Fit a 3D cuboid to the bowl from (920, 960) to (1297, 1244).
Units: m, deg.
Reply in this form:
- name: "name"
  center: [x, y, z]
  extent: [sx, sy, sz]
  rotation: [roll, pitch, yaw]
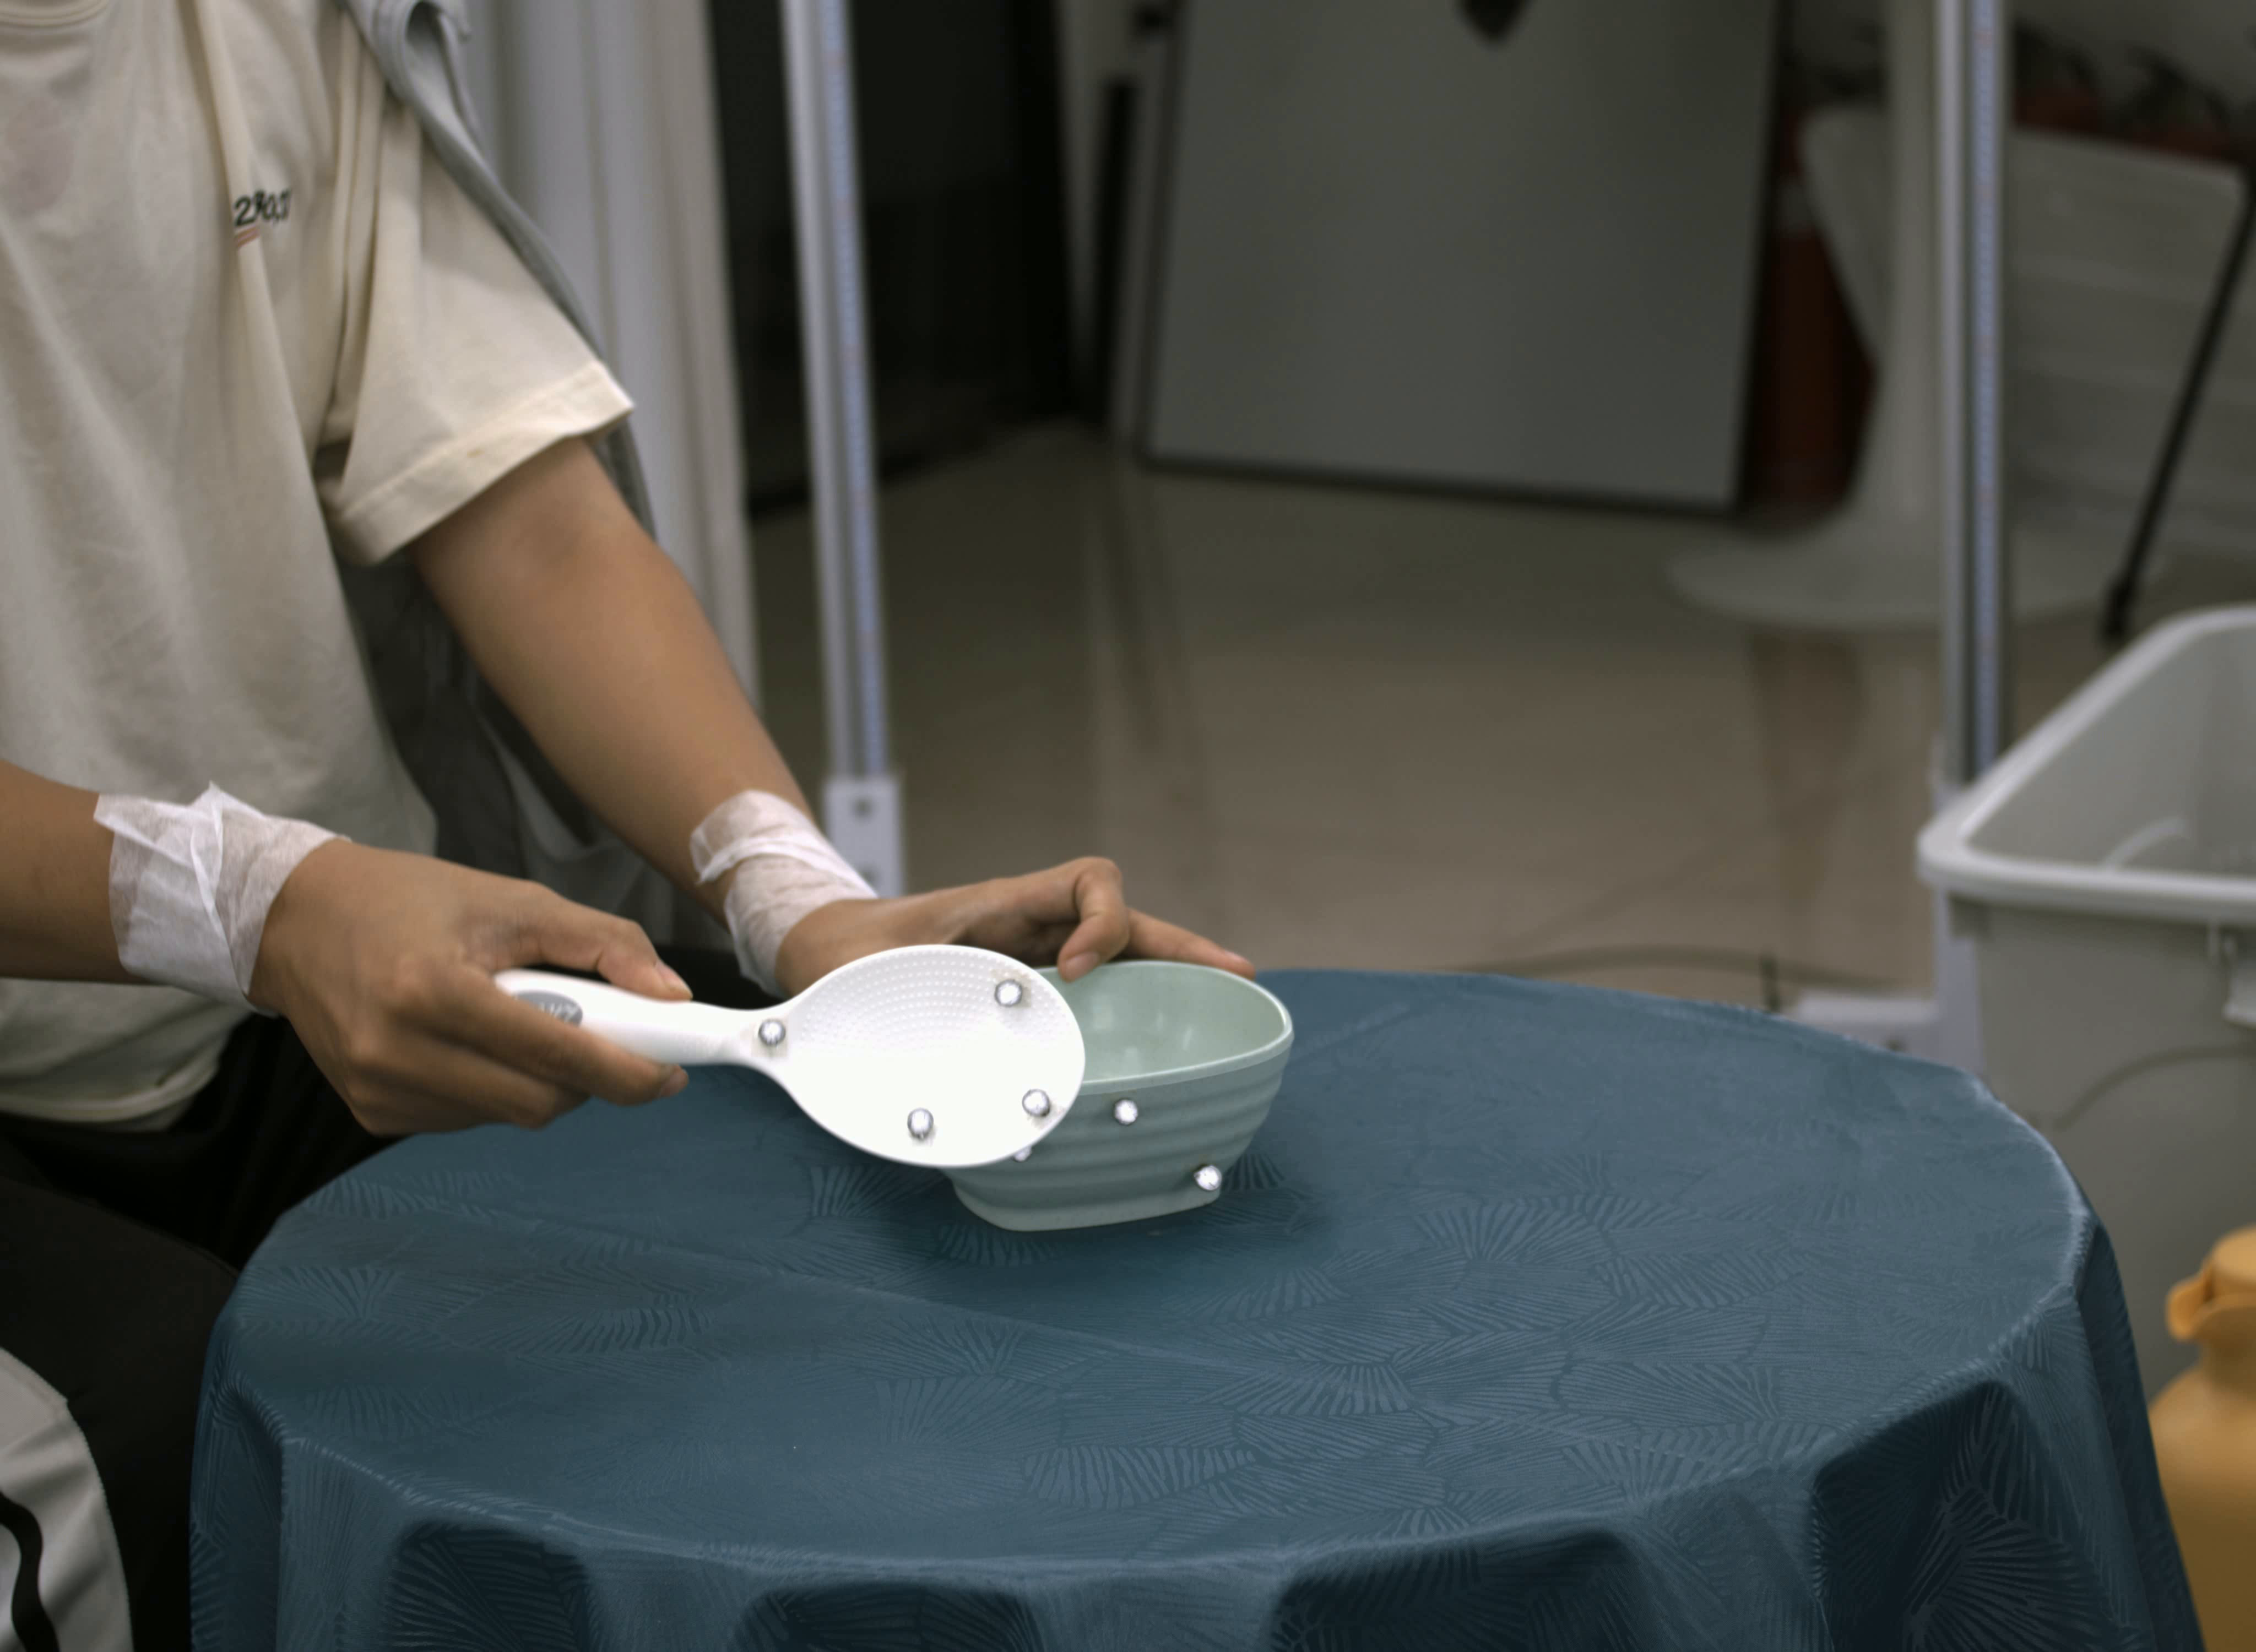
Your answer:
- name: "bowl"
  center: [-0.014, 0.094, 1.775]
  extent: [0.149, 0.059, 0.152]
  rotation: [-4, 15, 0]

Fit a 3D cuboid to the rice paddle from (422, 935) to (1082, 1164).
- name: "rice paddle"
  center: [-0.113, 0.064, 1.643]
  extent: [0.204, 0.069, 0.029]
  rotation: [3, -8, 13]
